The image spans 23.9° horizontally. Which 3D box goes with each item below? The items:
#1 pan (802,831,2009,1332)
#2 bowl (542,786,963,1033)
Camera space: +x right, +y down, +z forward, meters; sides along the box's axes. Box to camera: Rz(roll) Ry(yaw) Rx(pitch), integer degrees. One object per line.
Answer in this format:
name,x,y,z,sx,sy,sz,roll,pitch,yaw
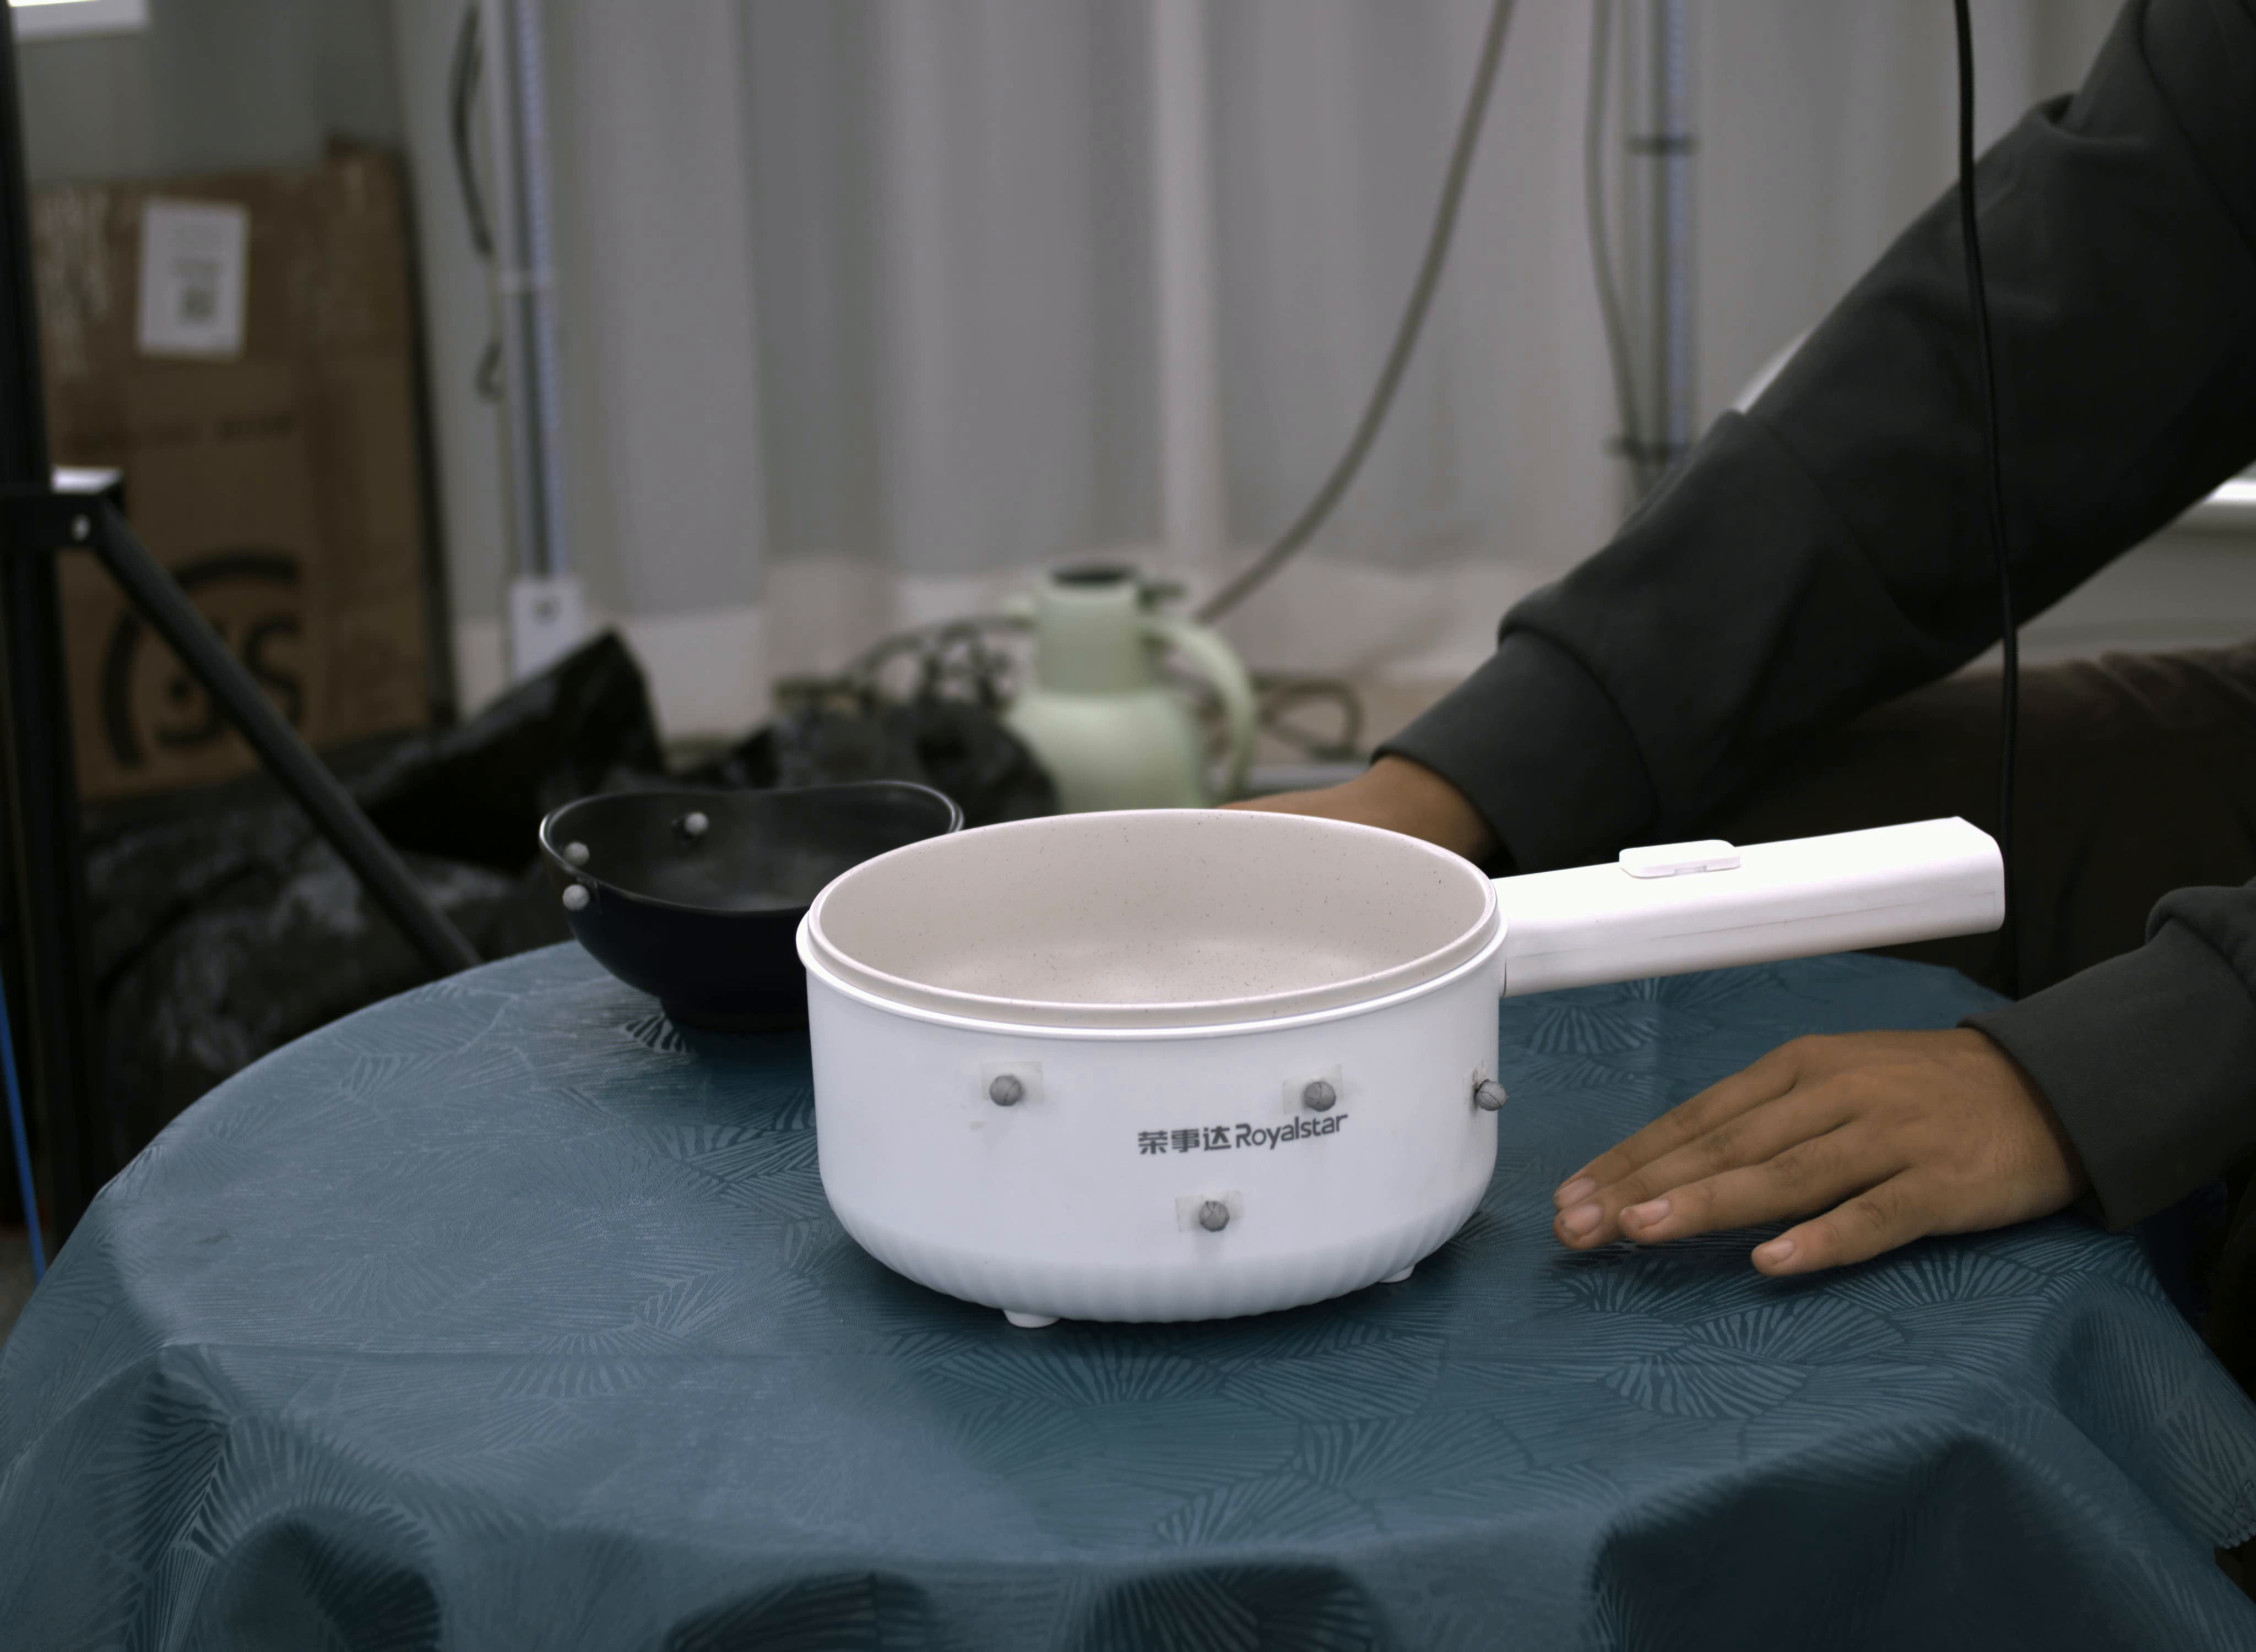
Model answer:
pan,0.082,0.068,1.524,0.349,0.102,0.204,-4,14,-14
bowl,-0.121,0.028,1.738,0.136,0.067,0.171,-3,14,-2
